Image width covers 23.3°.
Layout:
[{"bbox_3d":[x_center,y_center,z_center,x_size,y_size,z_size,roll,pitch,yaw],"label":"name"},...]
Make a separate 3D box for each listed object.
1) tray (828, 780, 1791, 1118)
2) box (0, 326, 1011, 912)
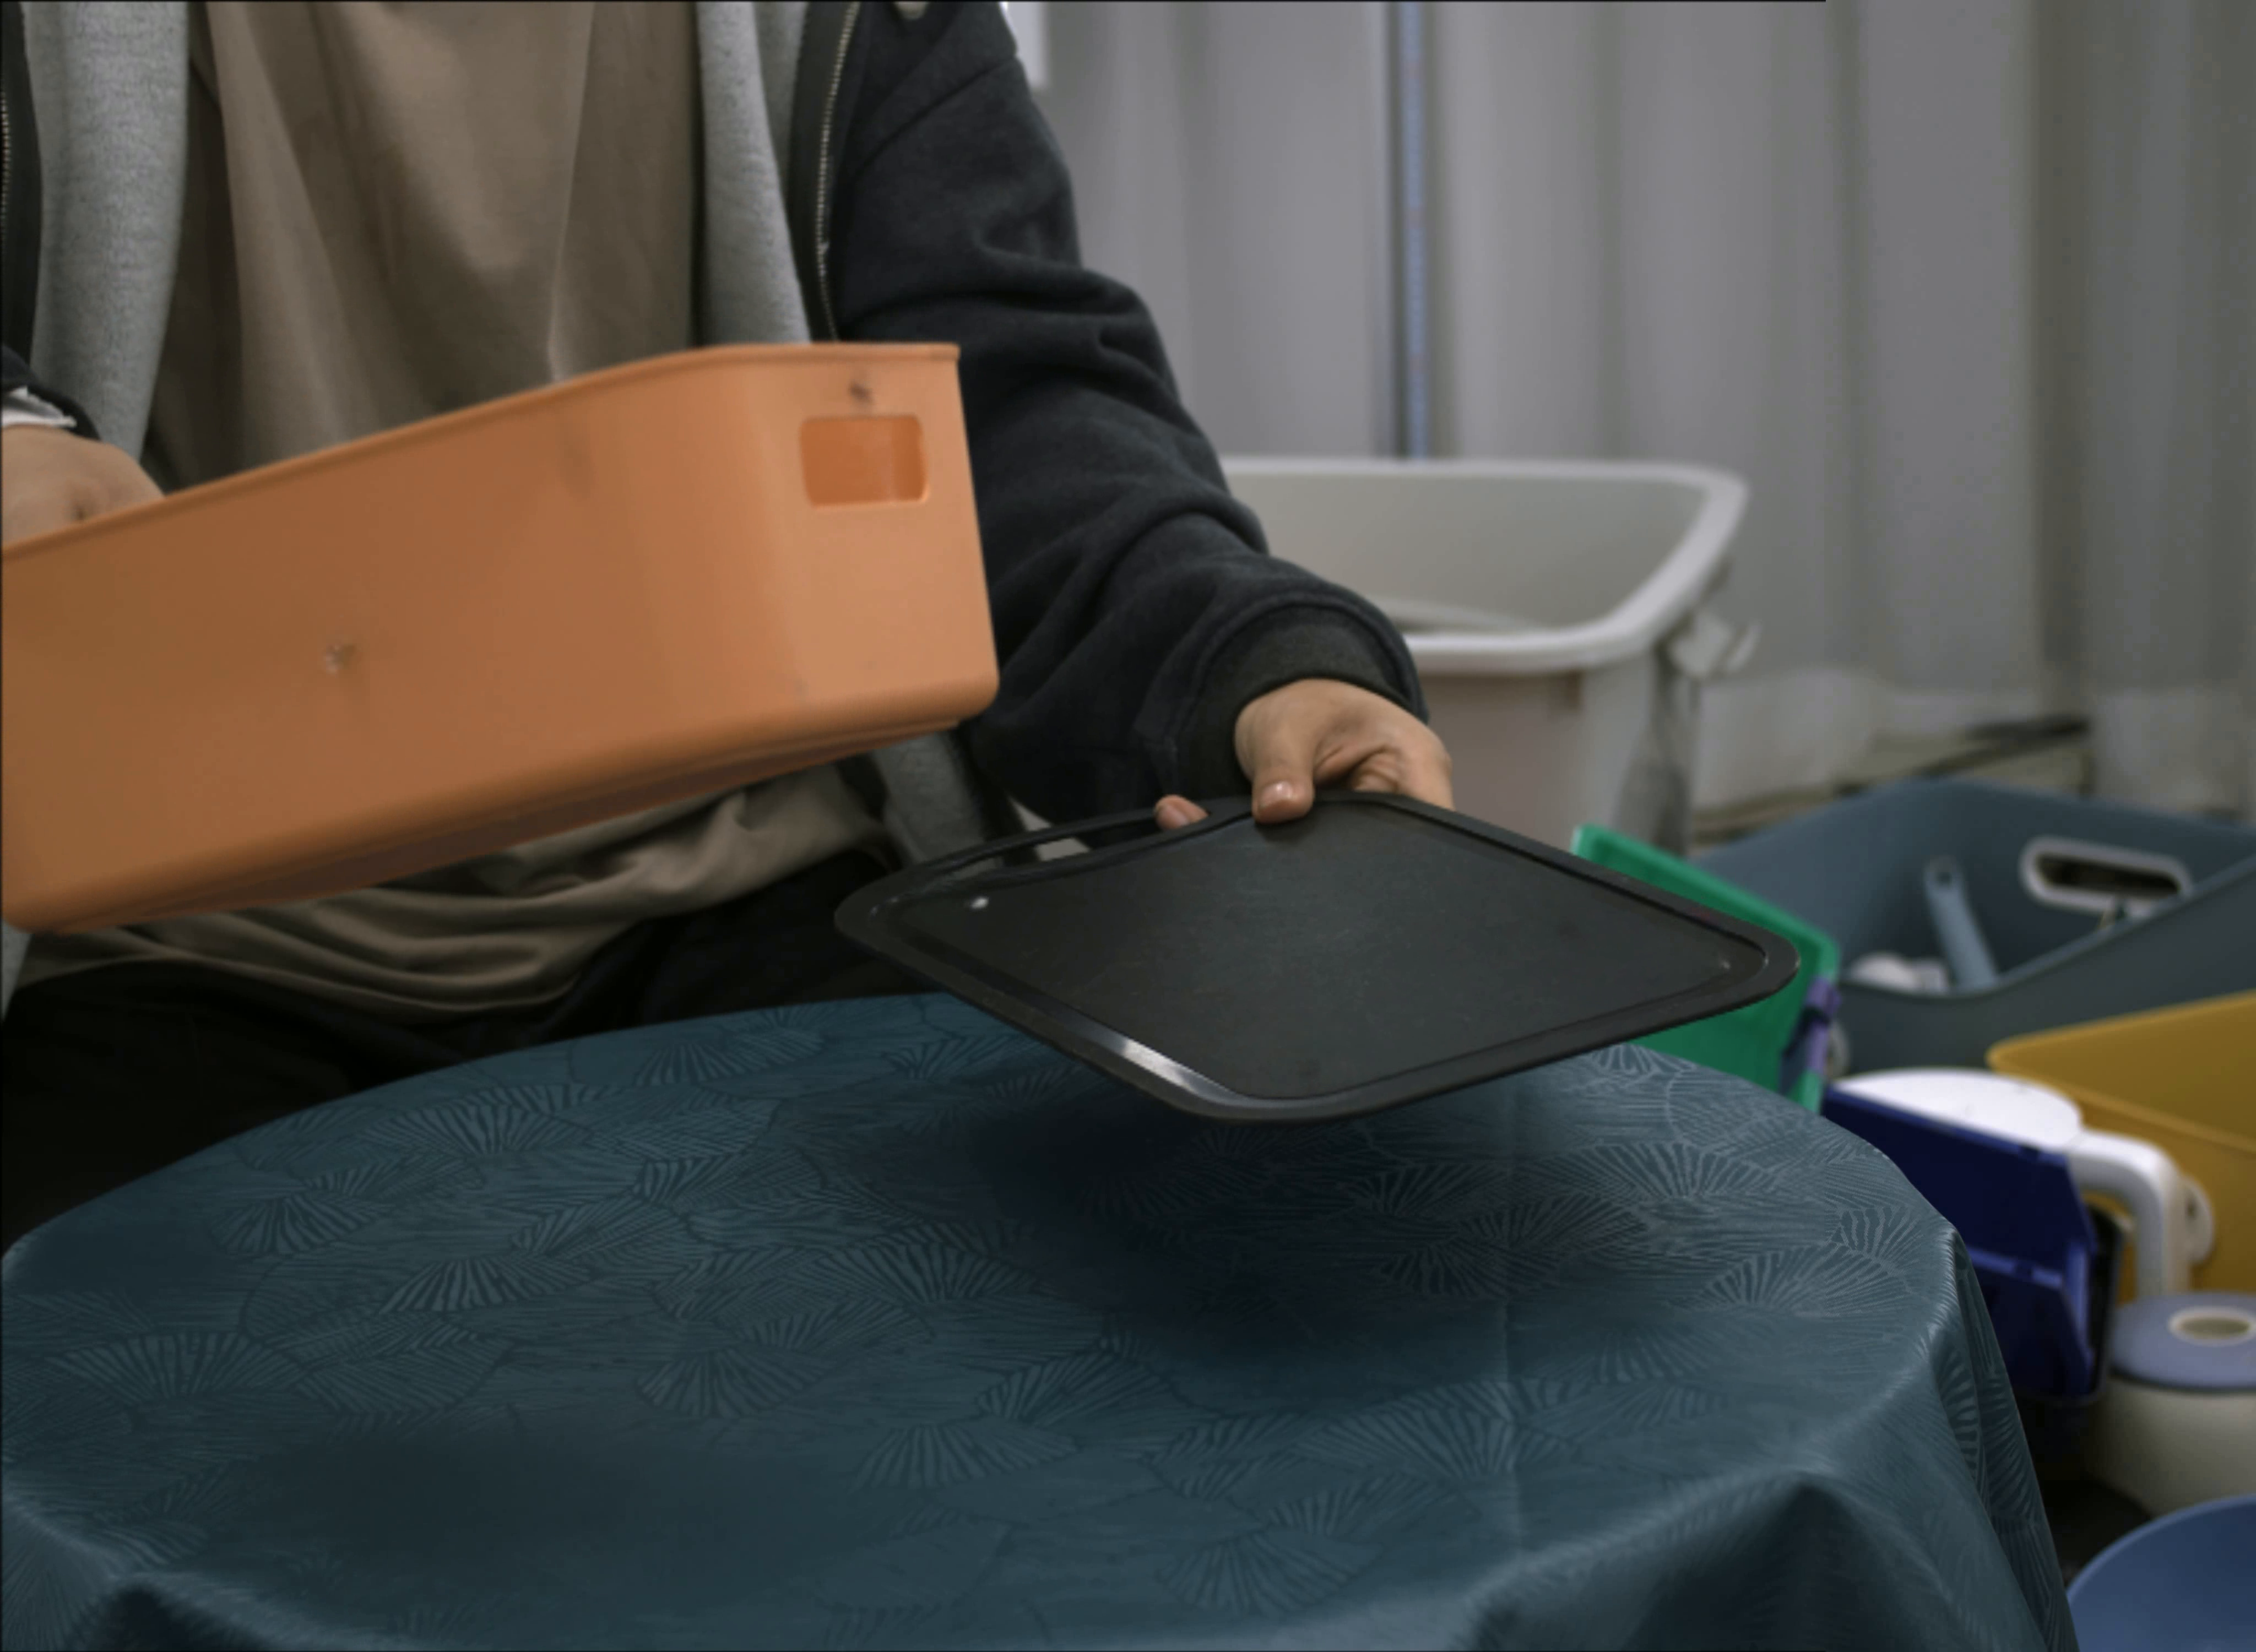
[{"bbox_3d":[0.045,0.031,1.701,0.210,0.010,0.328,-14,18,-25],"label":"tray"},{"bbox_3d":[-0.175,-0.053,1.479,0.273,0.103,0.199,-13,-1,24],"label":"box"}]
